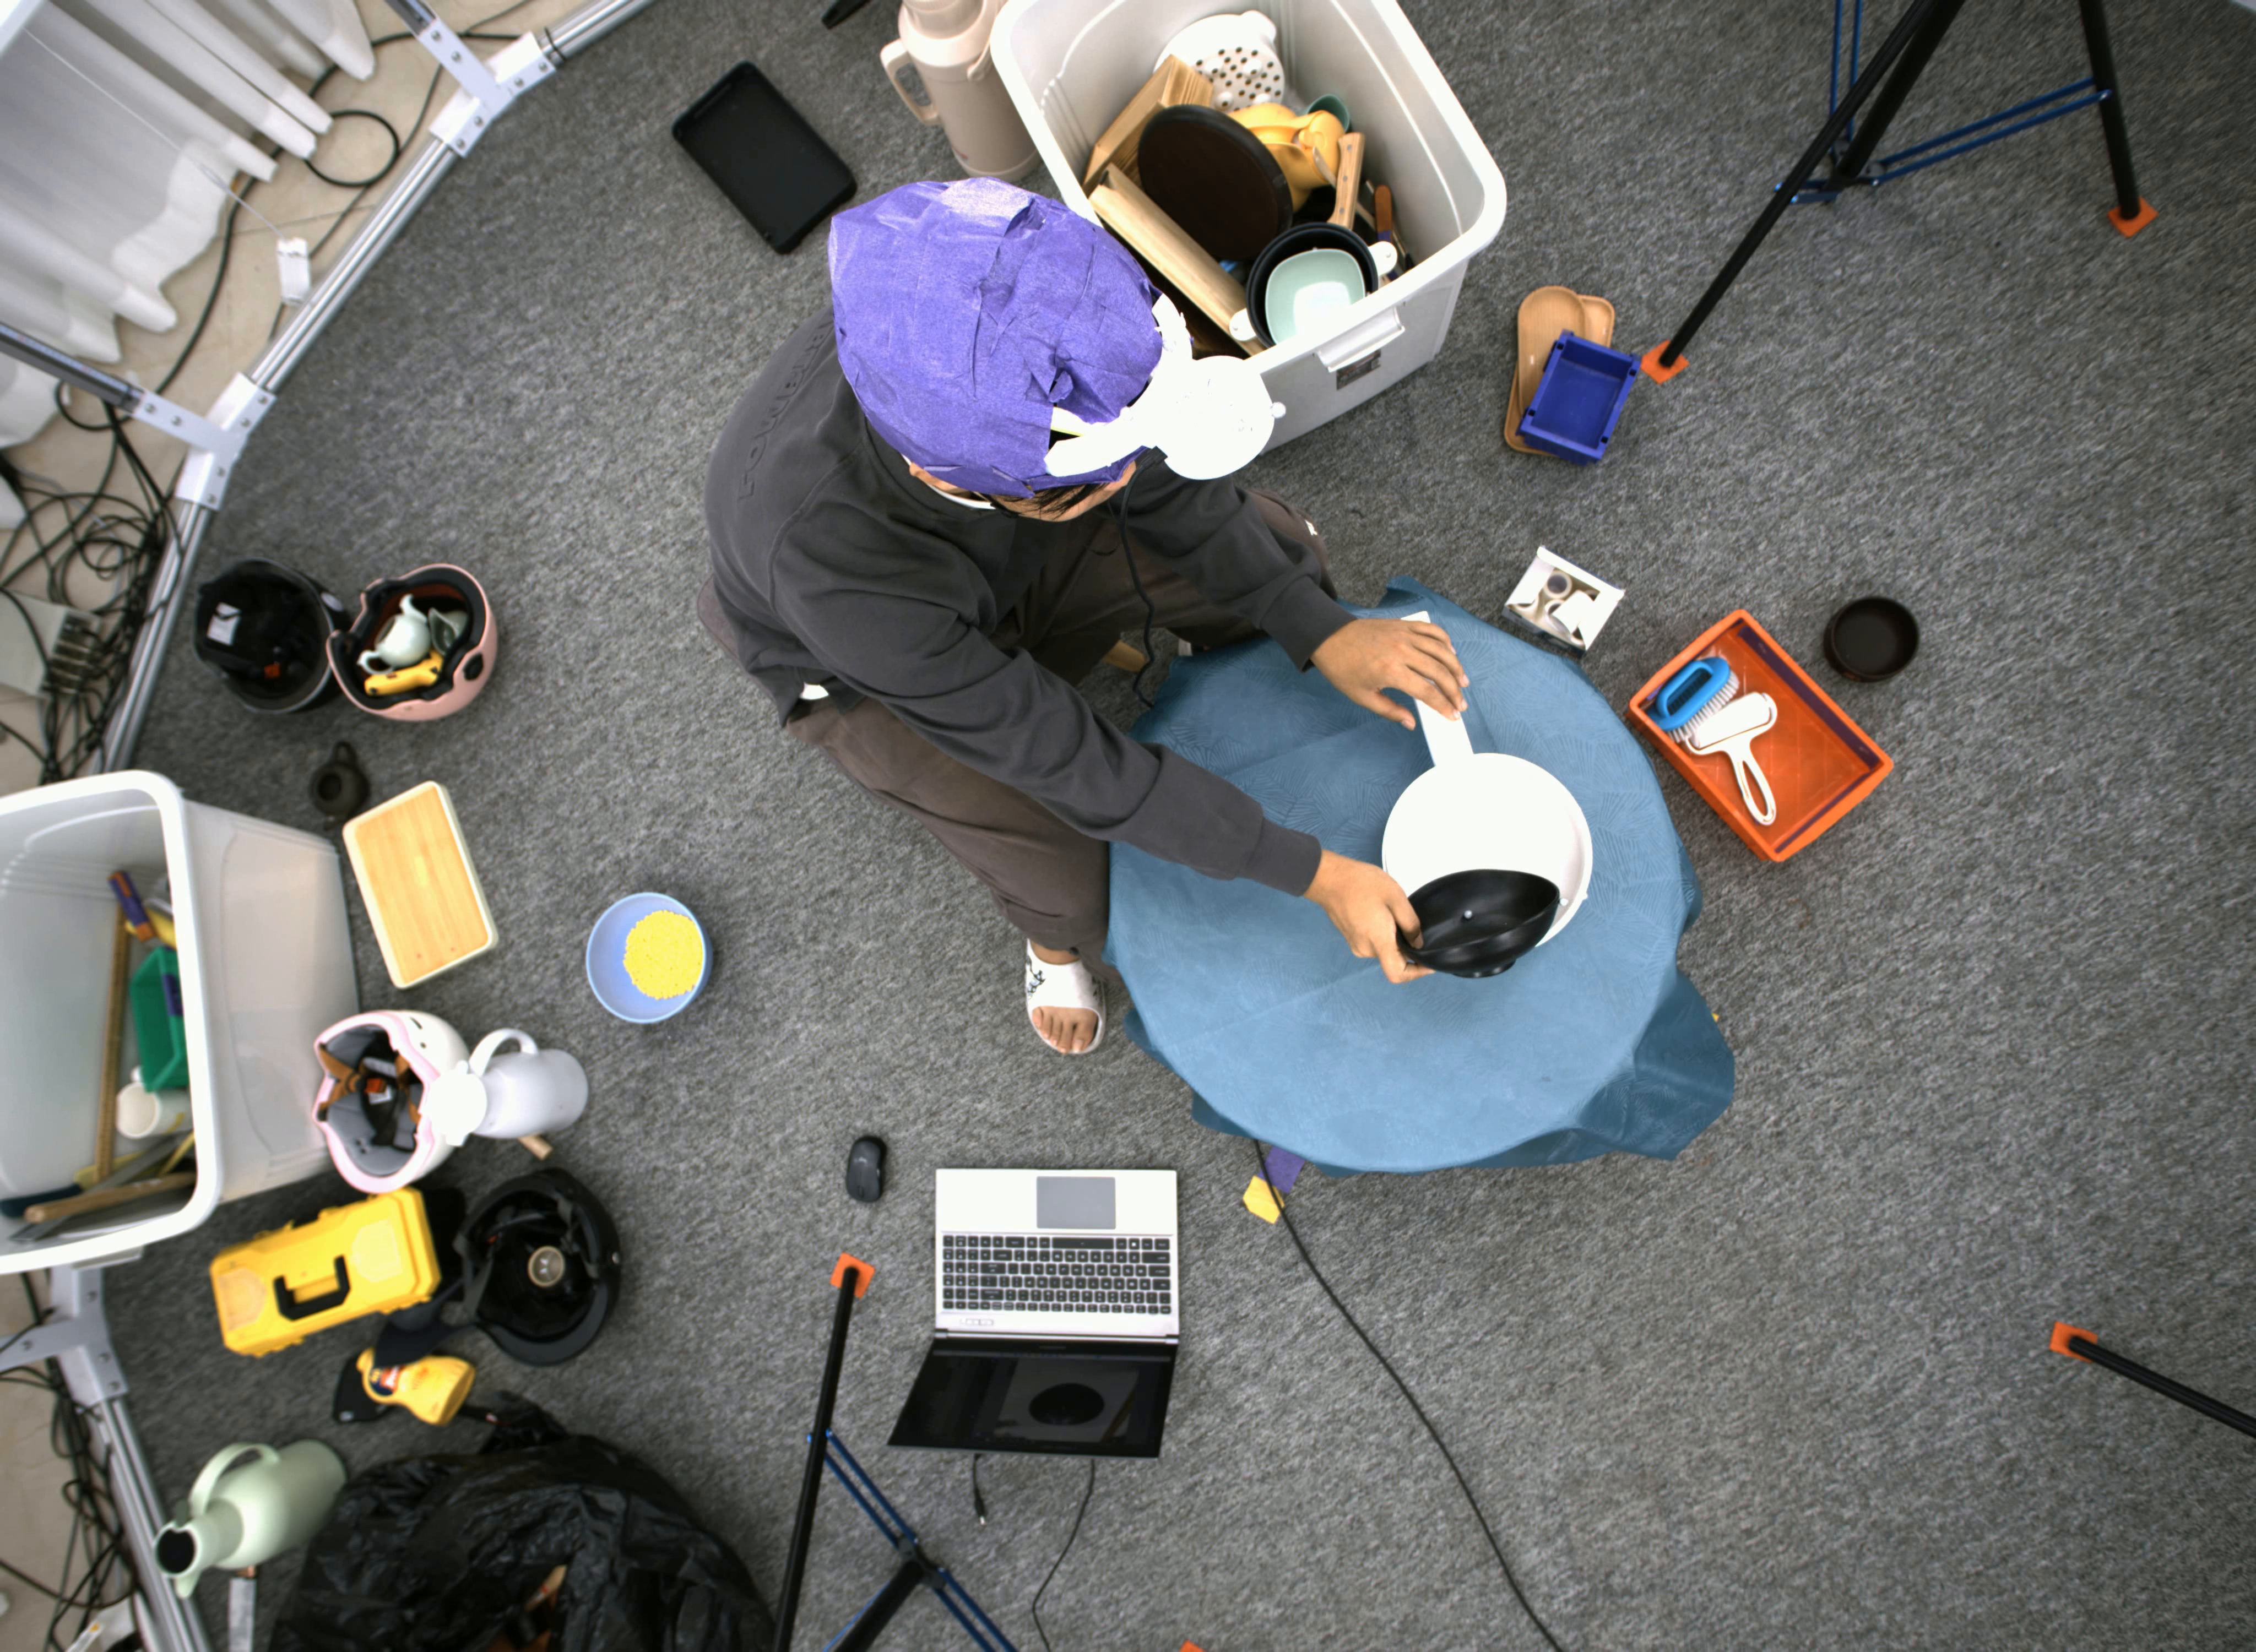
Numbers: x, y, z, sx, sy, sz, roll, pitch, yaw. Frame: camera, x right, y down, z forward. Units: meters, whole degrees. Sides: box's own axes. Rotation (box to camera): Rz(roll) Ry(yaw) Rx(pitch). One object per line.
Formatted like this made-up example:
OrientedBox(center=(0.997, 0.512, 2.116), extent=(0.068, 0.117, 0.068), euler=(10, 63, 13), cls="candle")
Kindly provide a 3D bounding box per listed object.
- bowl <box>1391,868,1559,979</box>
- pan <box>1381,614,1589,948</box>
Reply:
OrientedBox(center=(0.331, 0.099, 1.301), extent=(0.168, 0.137, 0.068), euler=(-24, 114, -23), cls="bowl")
OrientedBox(center=(0.341, -0.041, 1.412), extent=(0.203, 0.102, 0.352), euler=(-18, 81, 13), cls="pan")
